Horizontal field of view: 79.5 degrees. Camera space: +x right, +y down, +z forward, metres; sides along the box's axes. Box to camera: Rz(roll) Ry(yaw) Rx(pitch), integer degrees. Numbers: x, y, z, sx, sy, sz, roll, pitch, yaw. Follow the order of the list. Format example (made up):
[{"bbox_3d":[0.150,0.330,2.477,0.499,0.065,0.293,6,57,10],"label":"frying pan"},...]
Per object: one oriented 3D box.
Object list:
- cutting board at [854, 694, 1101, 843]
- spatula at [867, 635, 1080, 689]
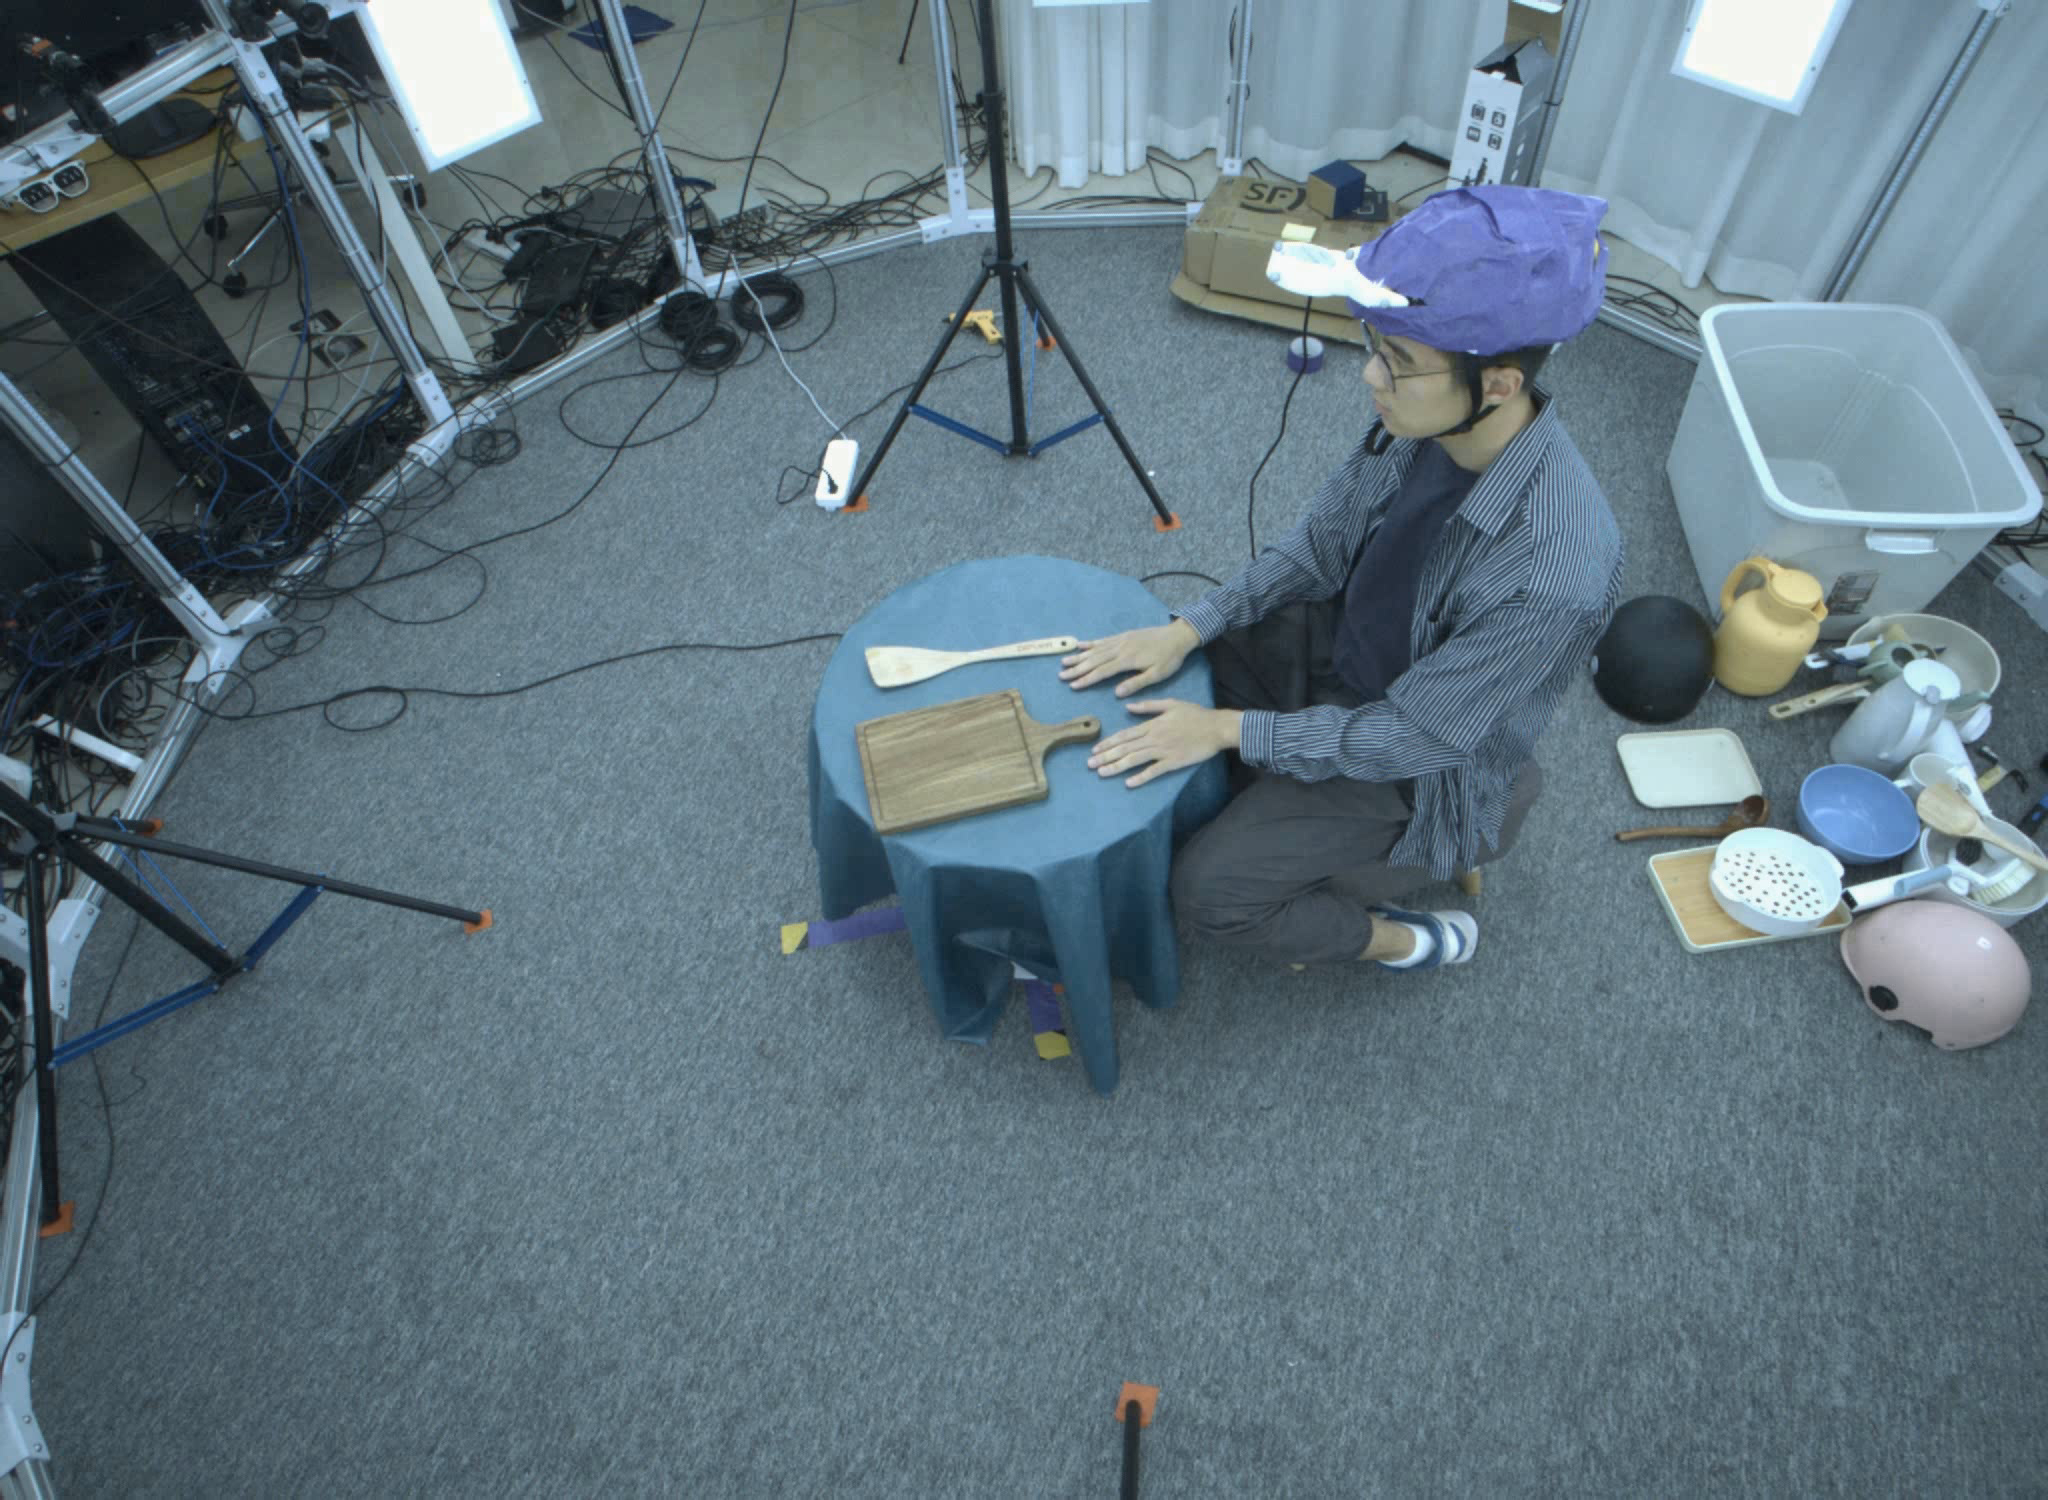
[{"bbox_3d":[-0.059,0.012,1.772,0.354,0.023,0.198,-12,55,-7],"label":"cutting board"},{"bbox_3d":[-0.075,-0.144,1.887,0.329,0.017,0.079,-9,56,-5],"label":"spatula"}]
